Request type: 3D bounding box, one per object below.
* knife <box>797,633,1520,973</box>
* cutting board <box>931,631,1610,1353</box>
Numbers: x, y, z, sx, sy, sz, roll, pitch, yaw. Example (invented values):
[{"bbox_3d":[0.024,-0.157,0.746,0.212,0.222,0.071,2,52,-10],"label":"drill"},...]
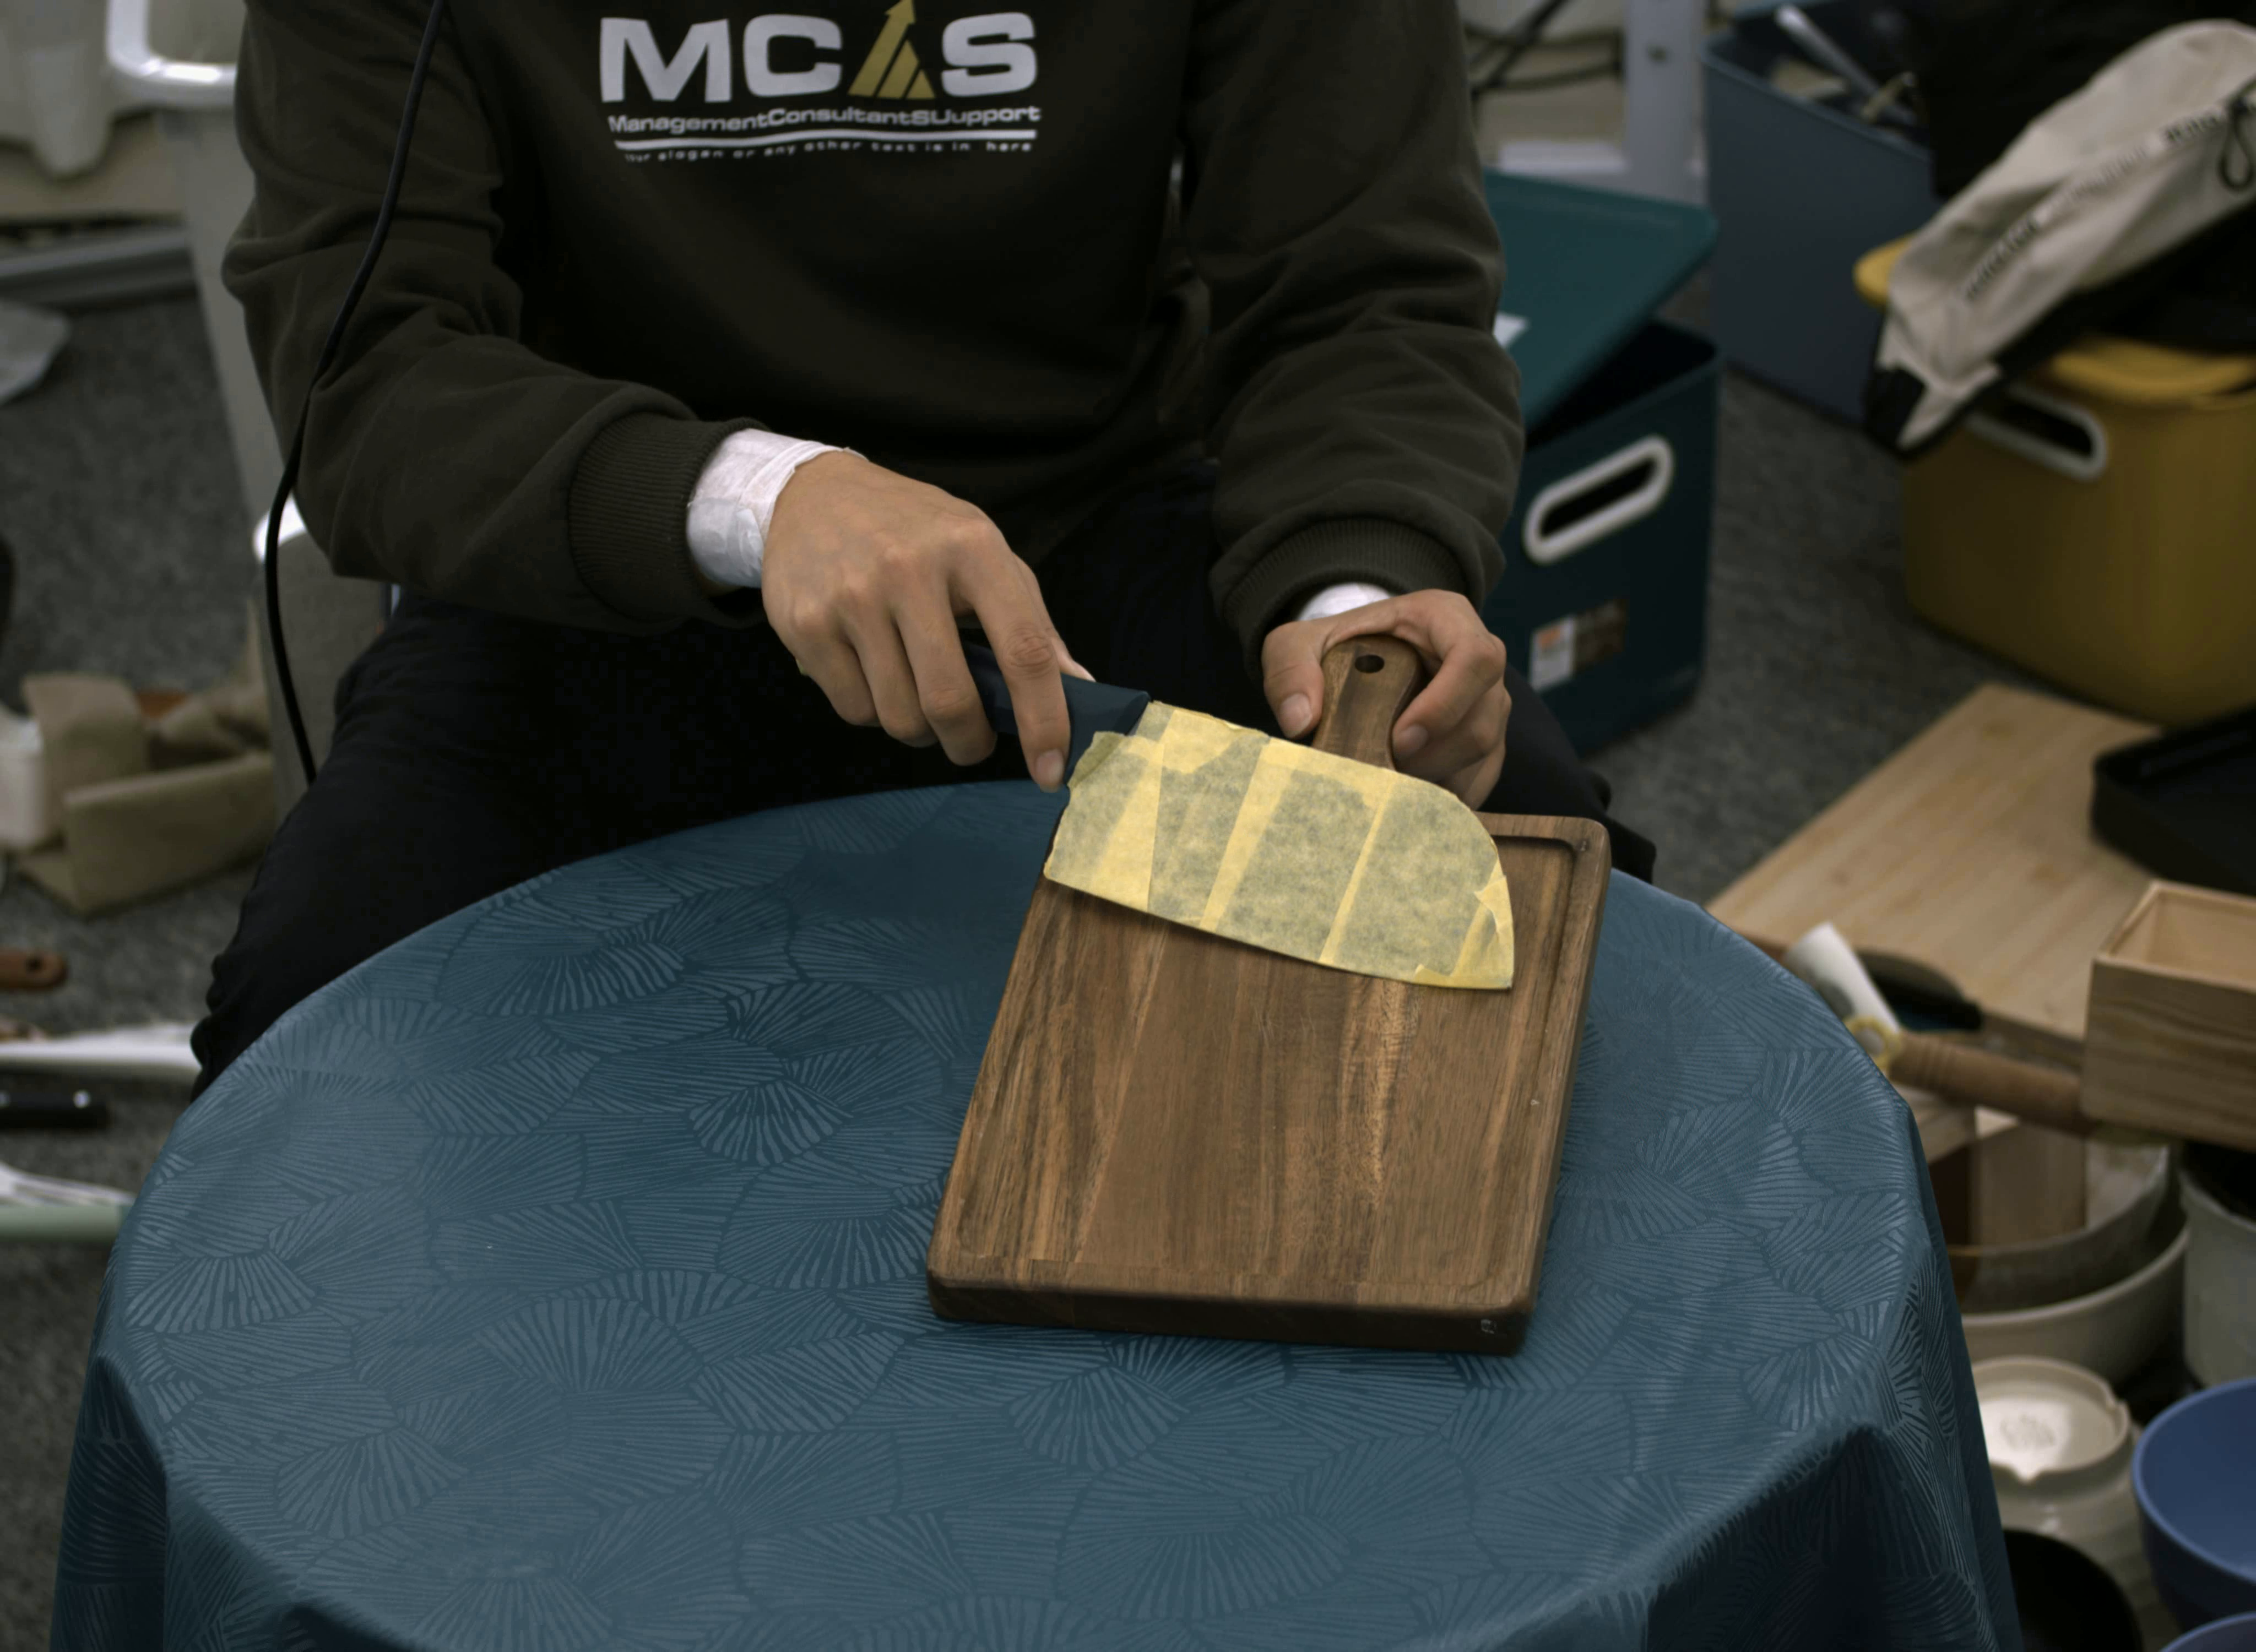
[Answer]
[{"bbox_3d":[0.006,-0.010,1.939,0.288,0.027,0.082,19,73,23],"label":"knife"},{"bbox_3d":[0.060,0.047,1.908,0.200,0.023,0.359,3,38,10],"label":"cutting board"}]
